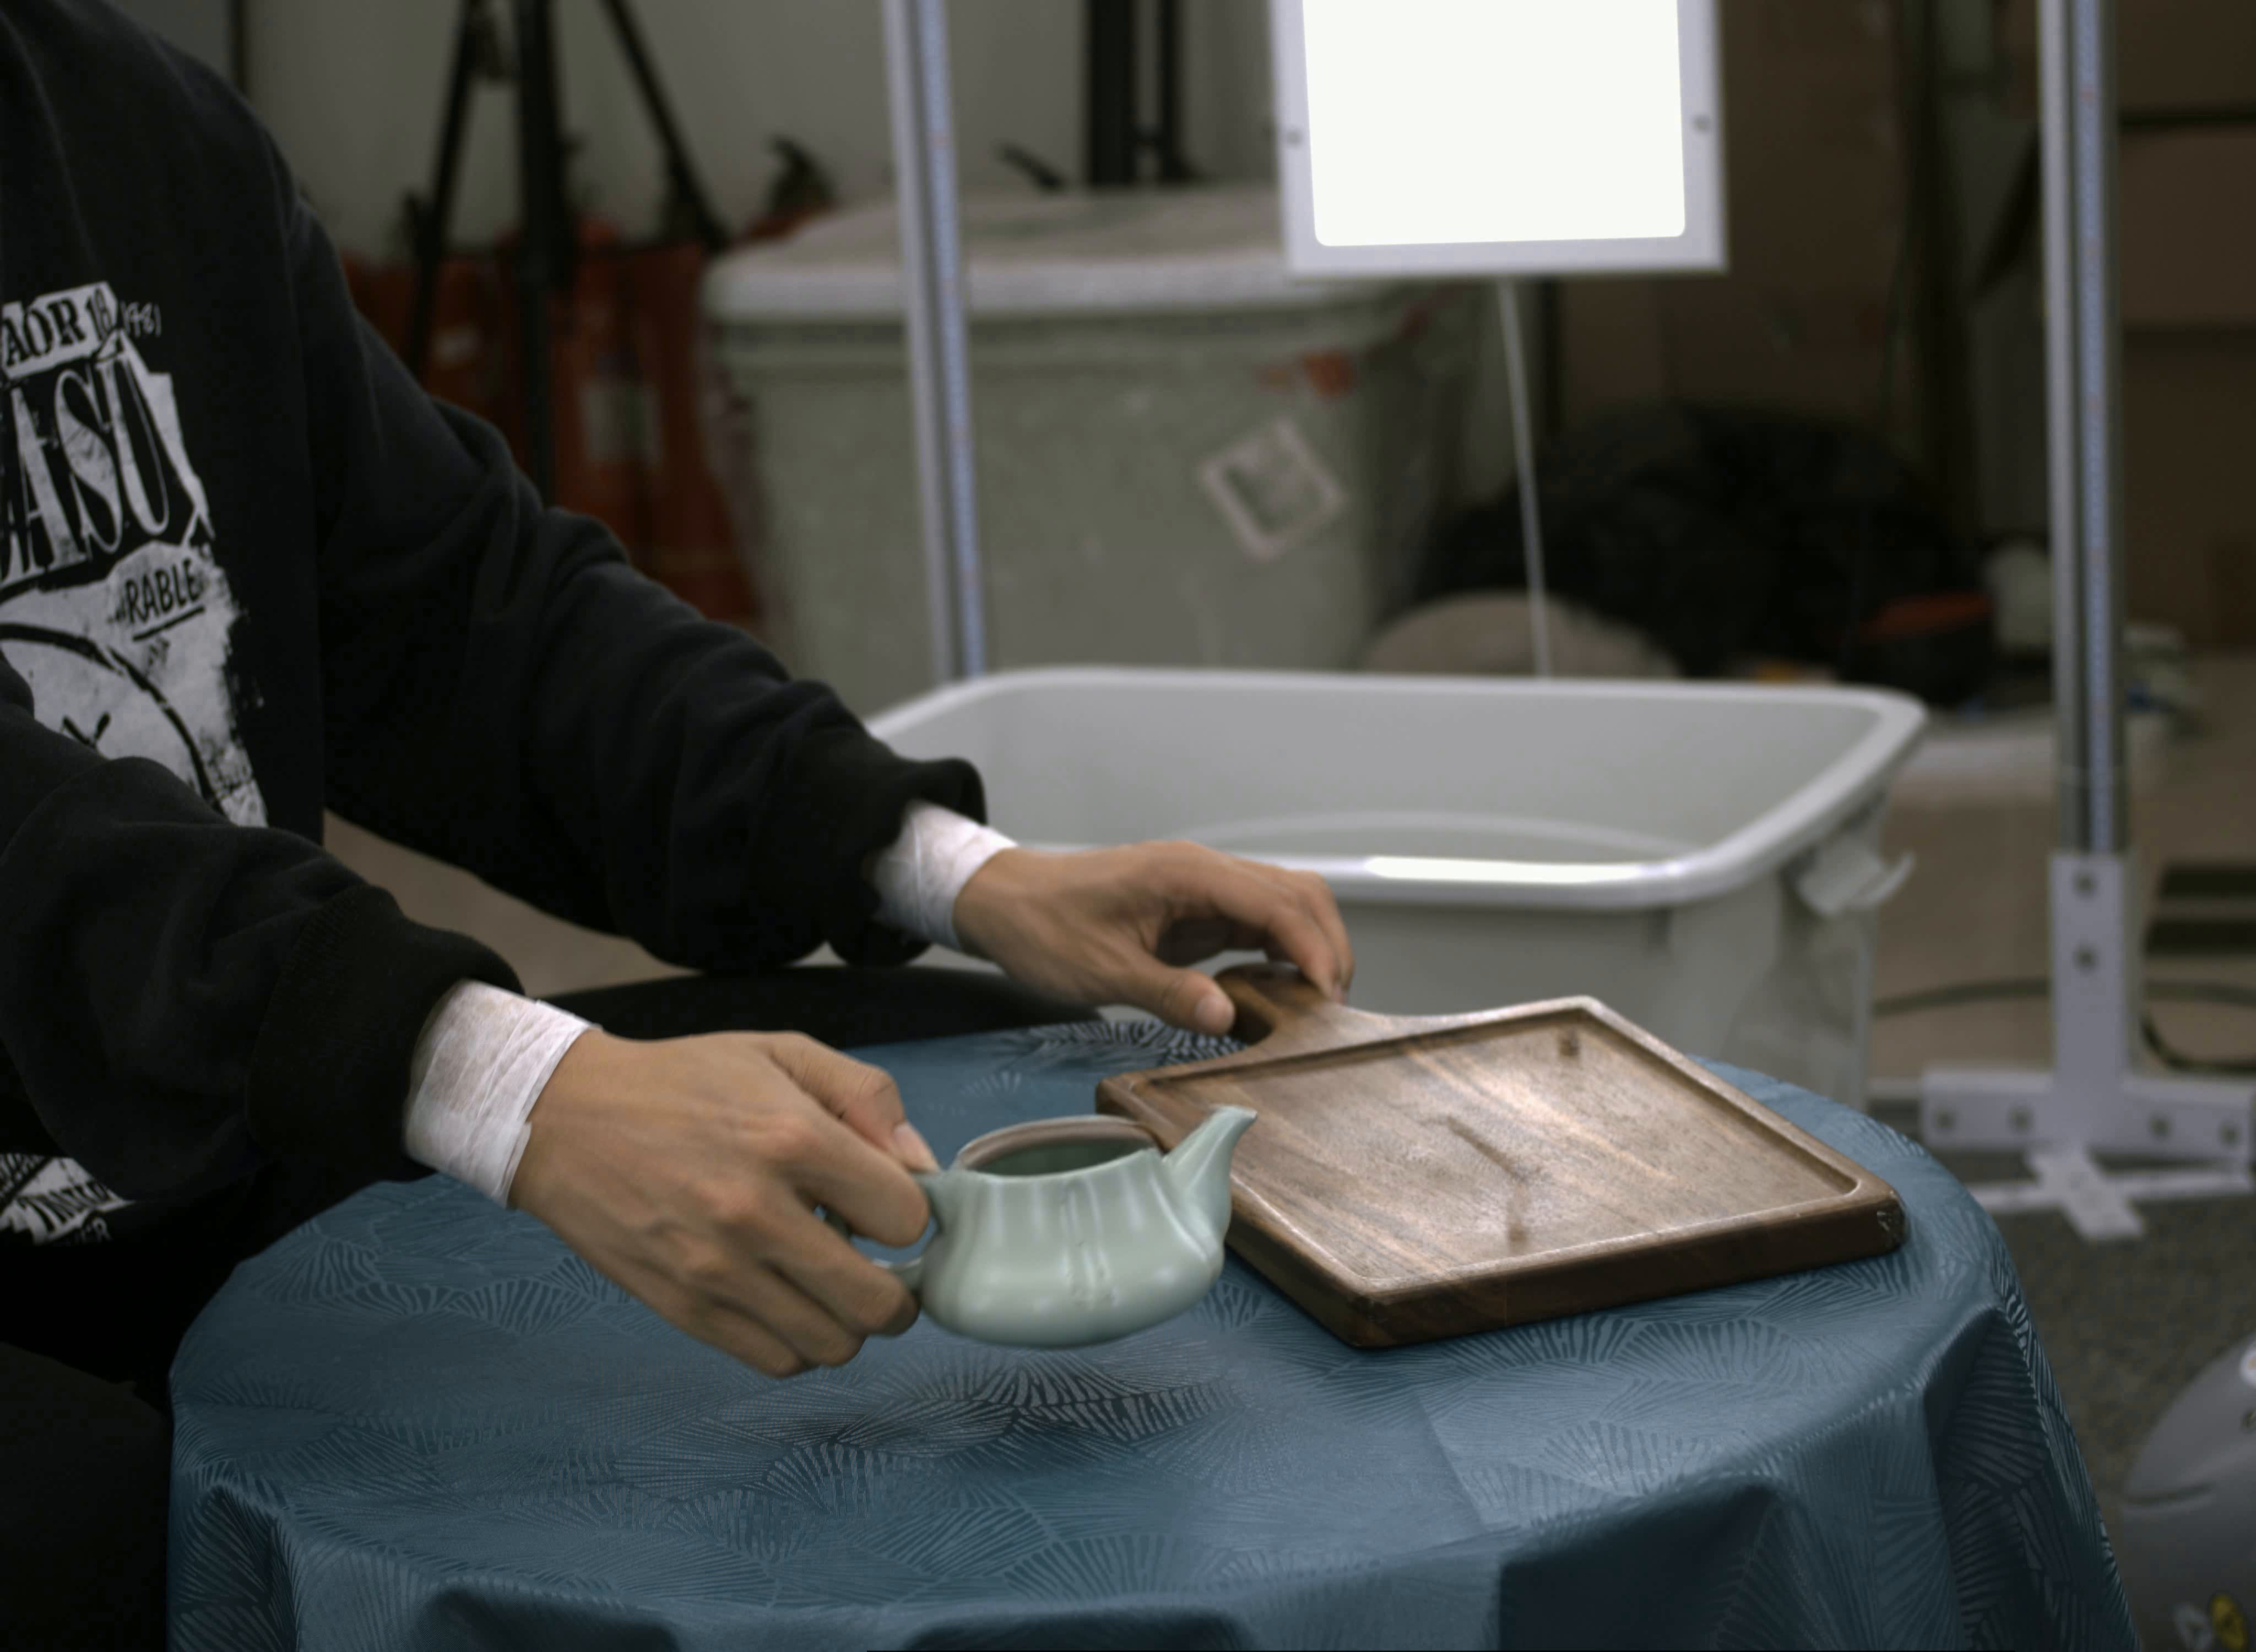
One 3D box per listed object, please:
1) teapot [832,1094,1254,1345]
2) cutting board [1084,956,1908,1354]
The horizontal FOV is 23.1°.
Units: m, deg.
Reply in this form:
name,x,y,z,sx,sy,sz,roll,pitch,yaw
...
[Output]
name,x,y,z,sx,sy,sz,roll,pitch,yaw
teapot,-0.023,0.122,1.686,0.135,0.061,0.097,-9,15,-12
cutting board,0.102,0.100,1.895,0.197,0.023,0.356,-10,17,-19
